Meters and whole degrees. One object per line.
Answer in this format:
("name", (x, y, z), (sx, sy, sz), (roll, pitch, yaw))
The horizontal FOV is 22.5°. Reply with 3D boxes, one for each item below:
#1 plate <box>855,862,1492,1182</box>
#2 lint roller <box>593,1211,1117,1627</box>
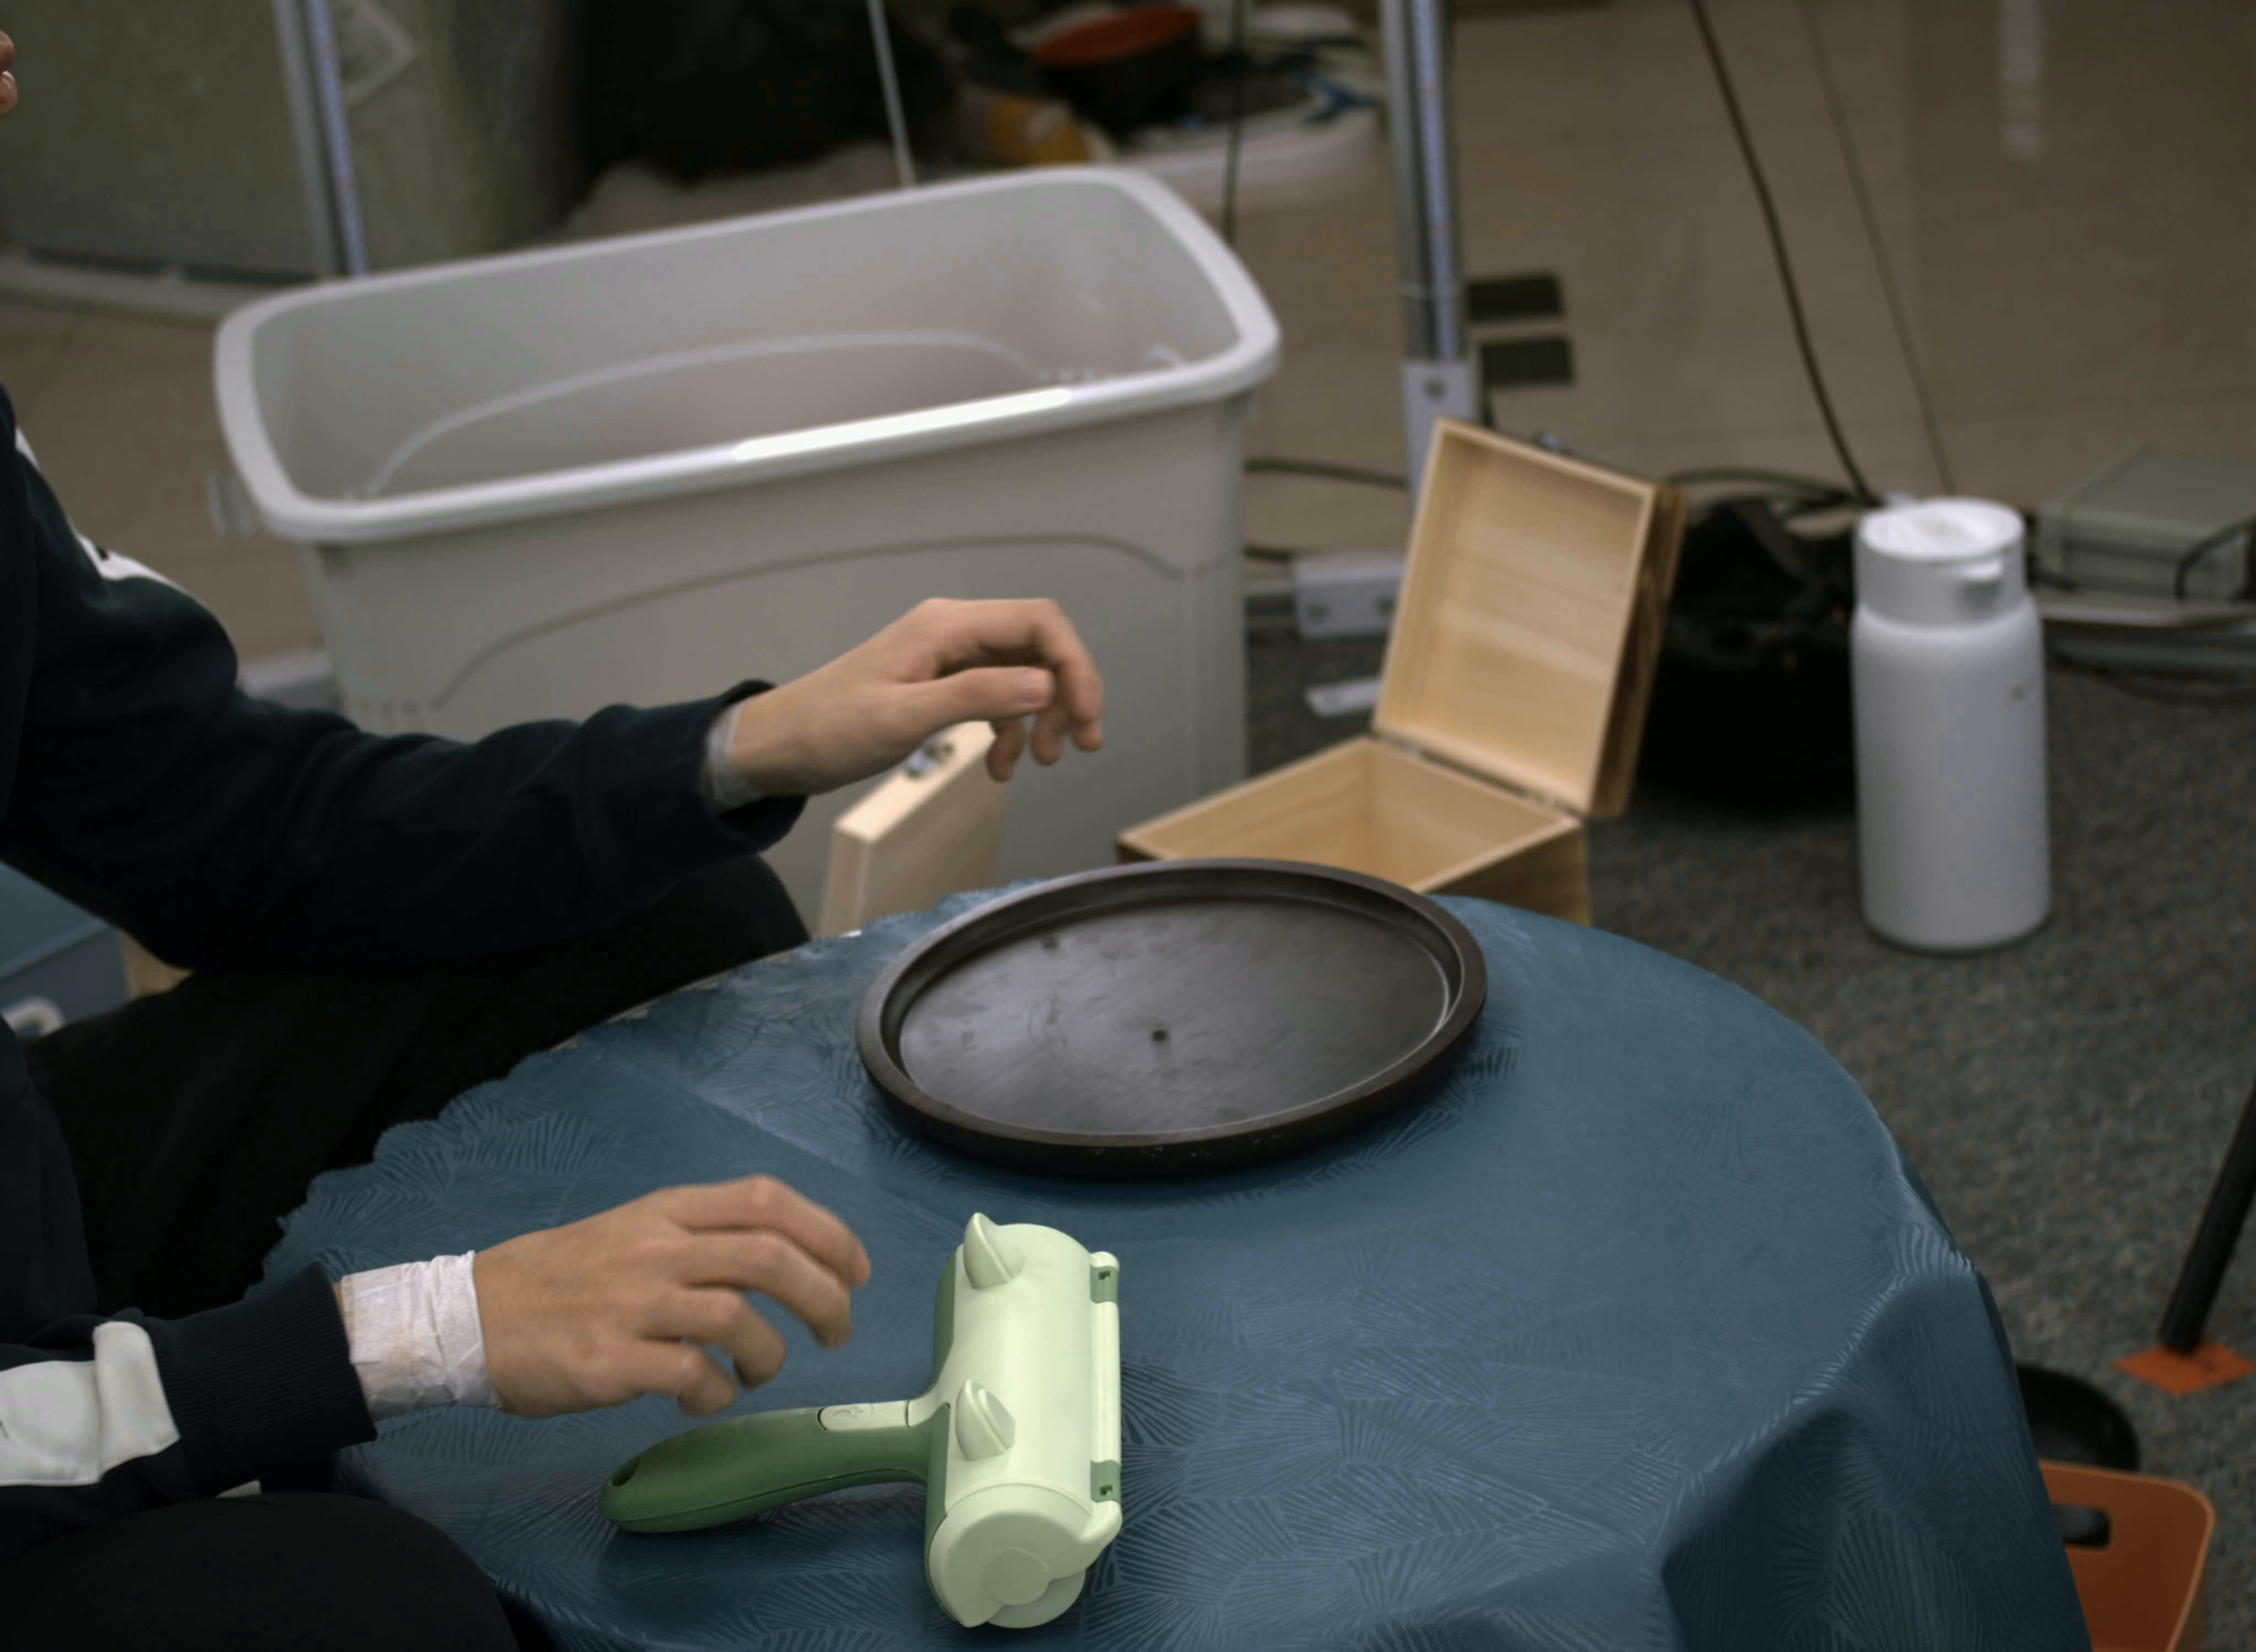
("plate", (0.018, 0.076, 2.246), (0.254, 0.029, 0.251), (-6, 26, 3))
("lint roller", (-0.095, 0.199, 1.944), (0.183, 0.083, 0.195), (-2, 25, 1))
